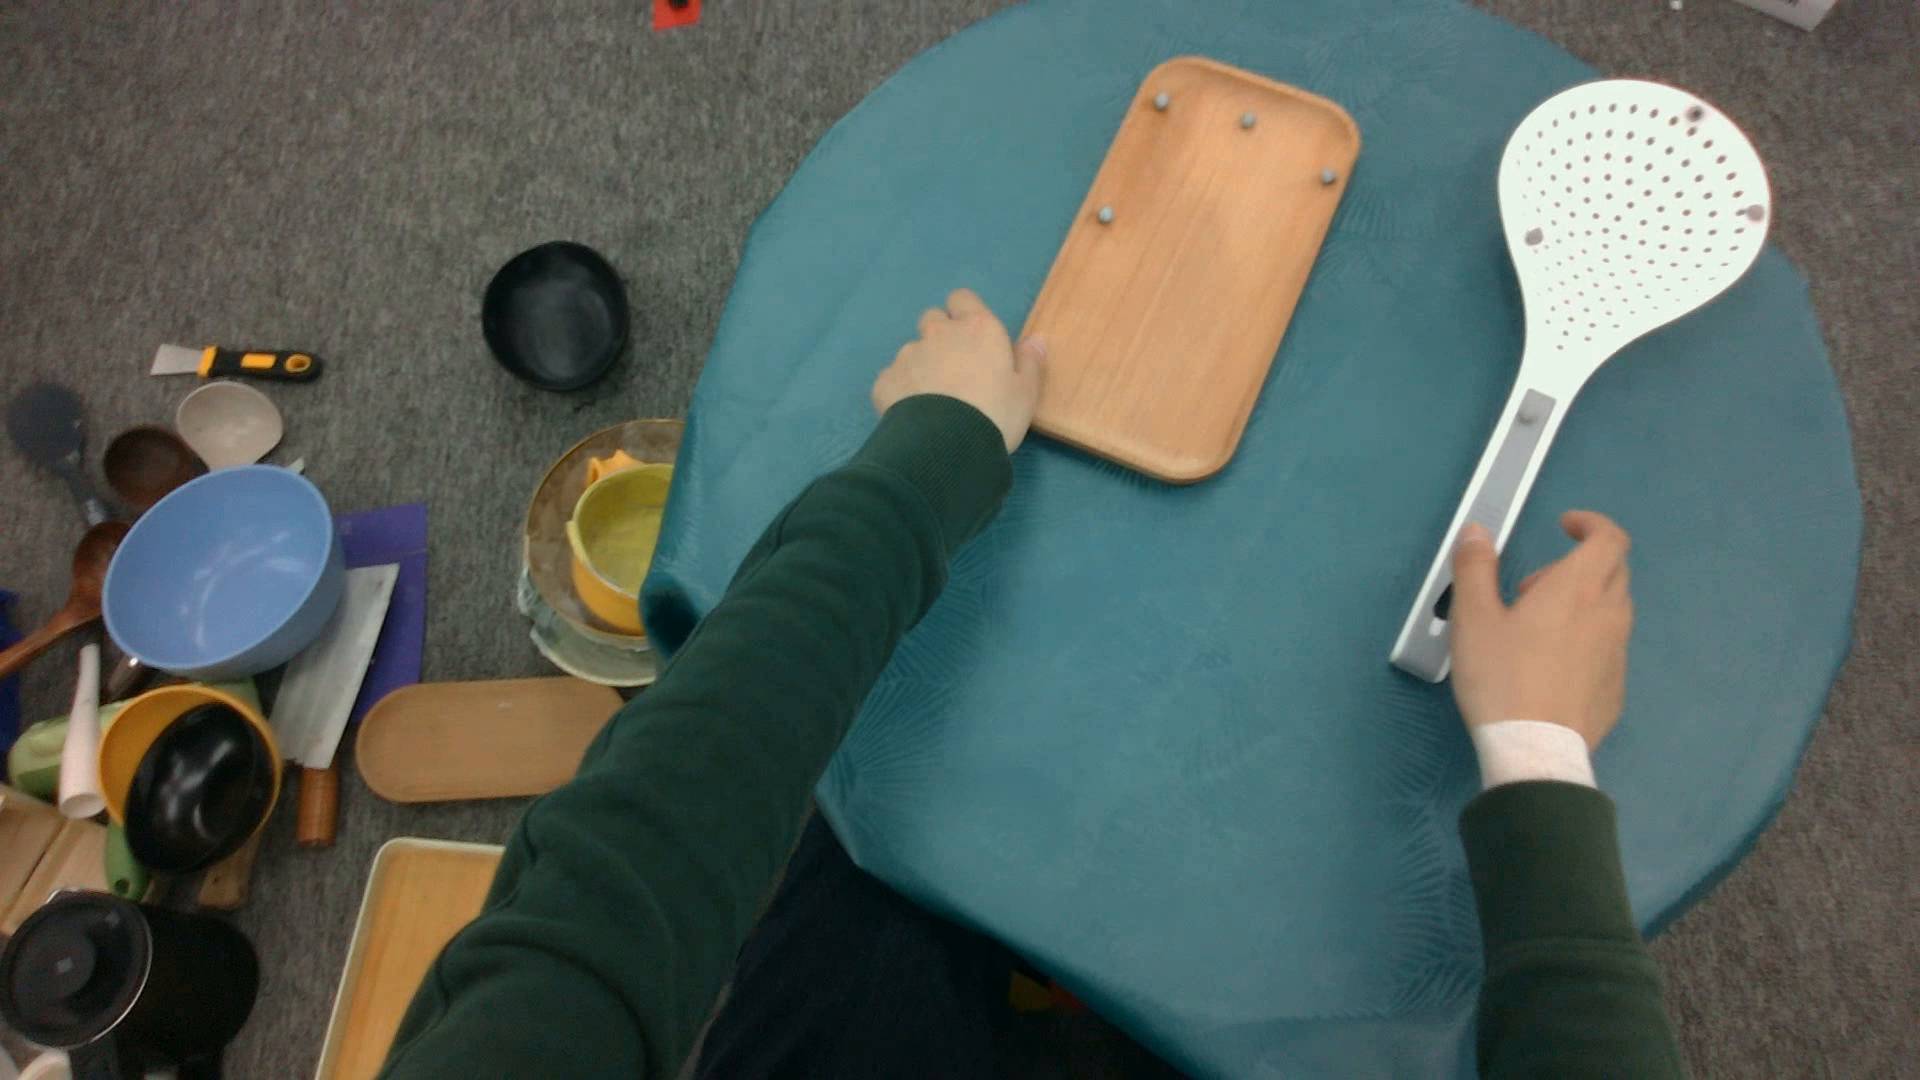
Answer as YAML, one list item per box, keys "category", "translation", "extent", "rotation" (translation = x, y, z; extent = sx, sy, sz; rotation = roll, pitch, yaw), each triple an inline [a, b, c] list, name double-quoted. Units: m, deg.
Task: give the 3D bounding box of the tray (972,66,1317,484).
- category: "tray"
  translation: [0.104, -0.149, 0.749]
  extent: [0.130, 0.023, 0.251]
  rotation: [21, 69, 10]

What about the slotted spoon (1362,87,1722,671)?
- category: "slotted spoon"
  translation: [0.286, -0.089, 0.711]
  extent: [0.136, 0.045, 0.351]
  rotation: [25, 70, 12]
